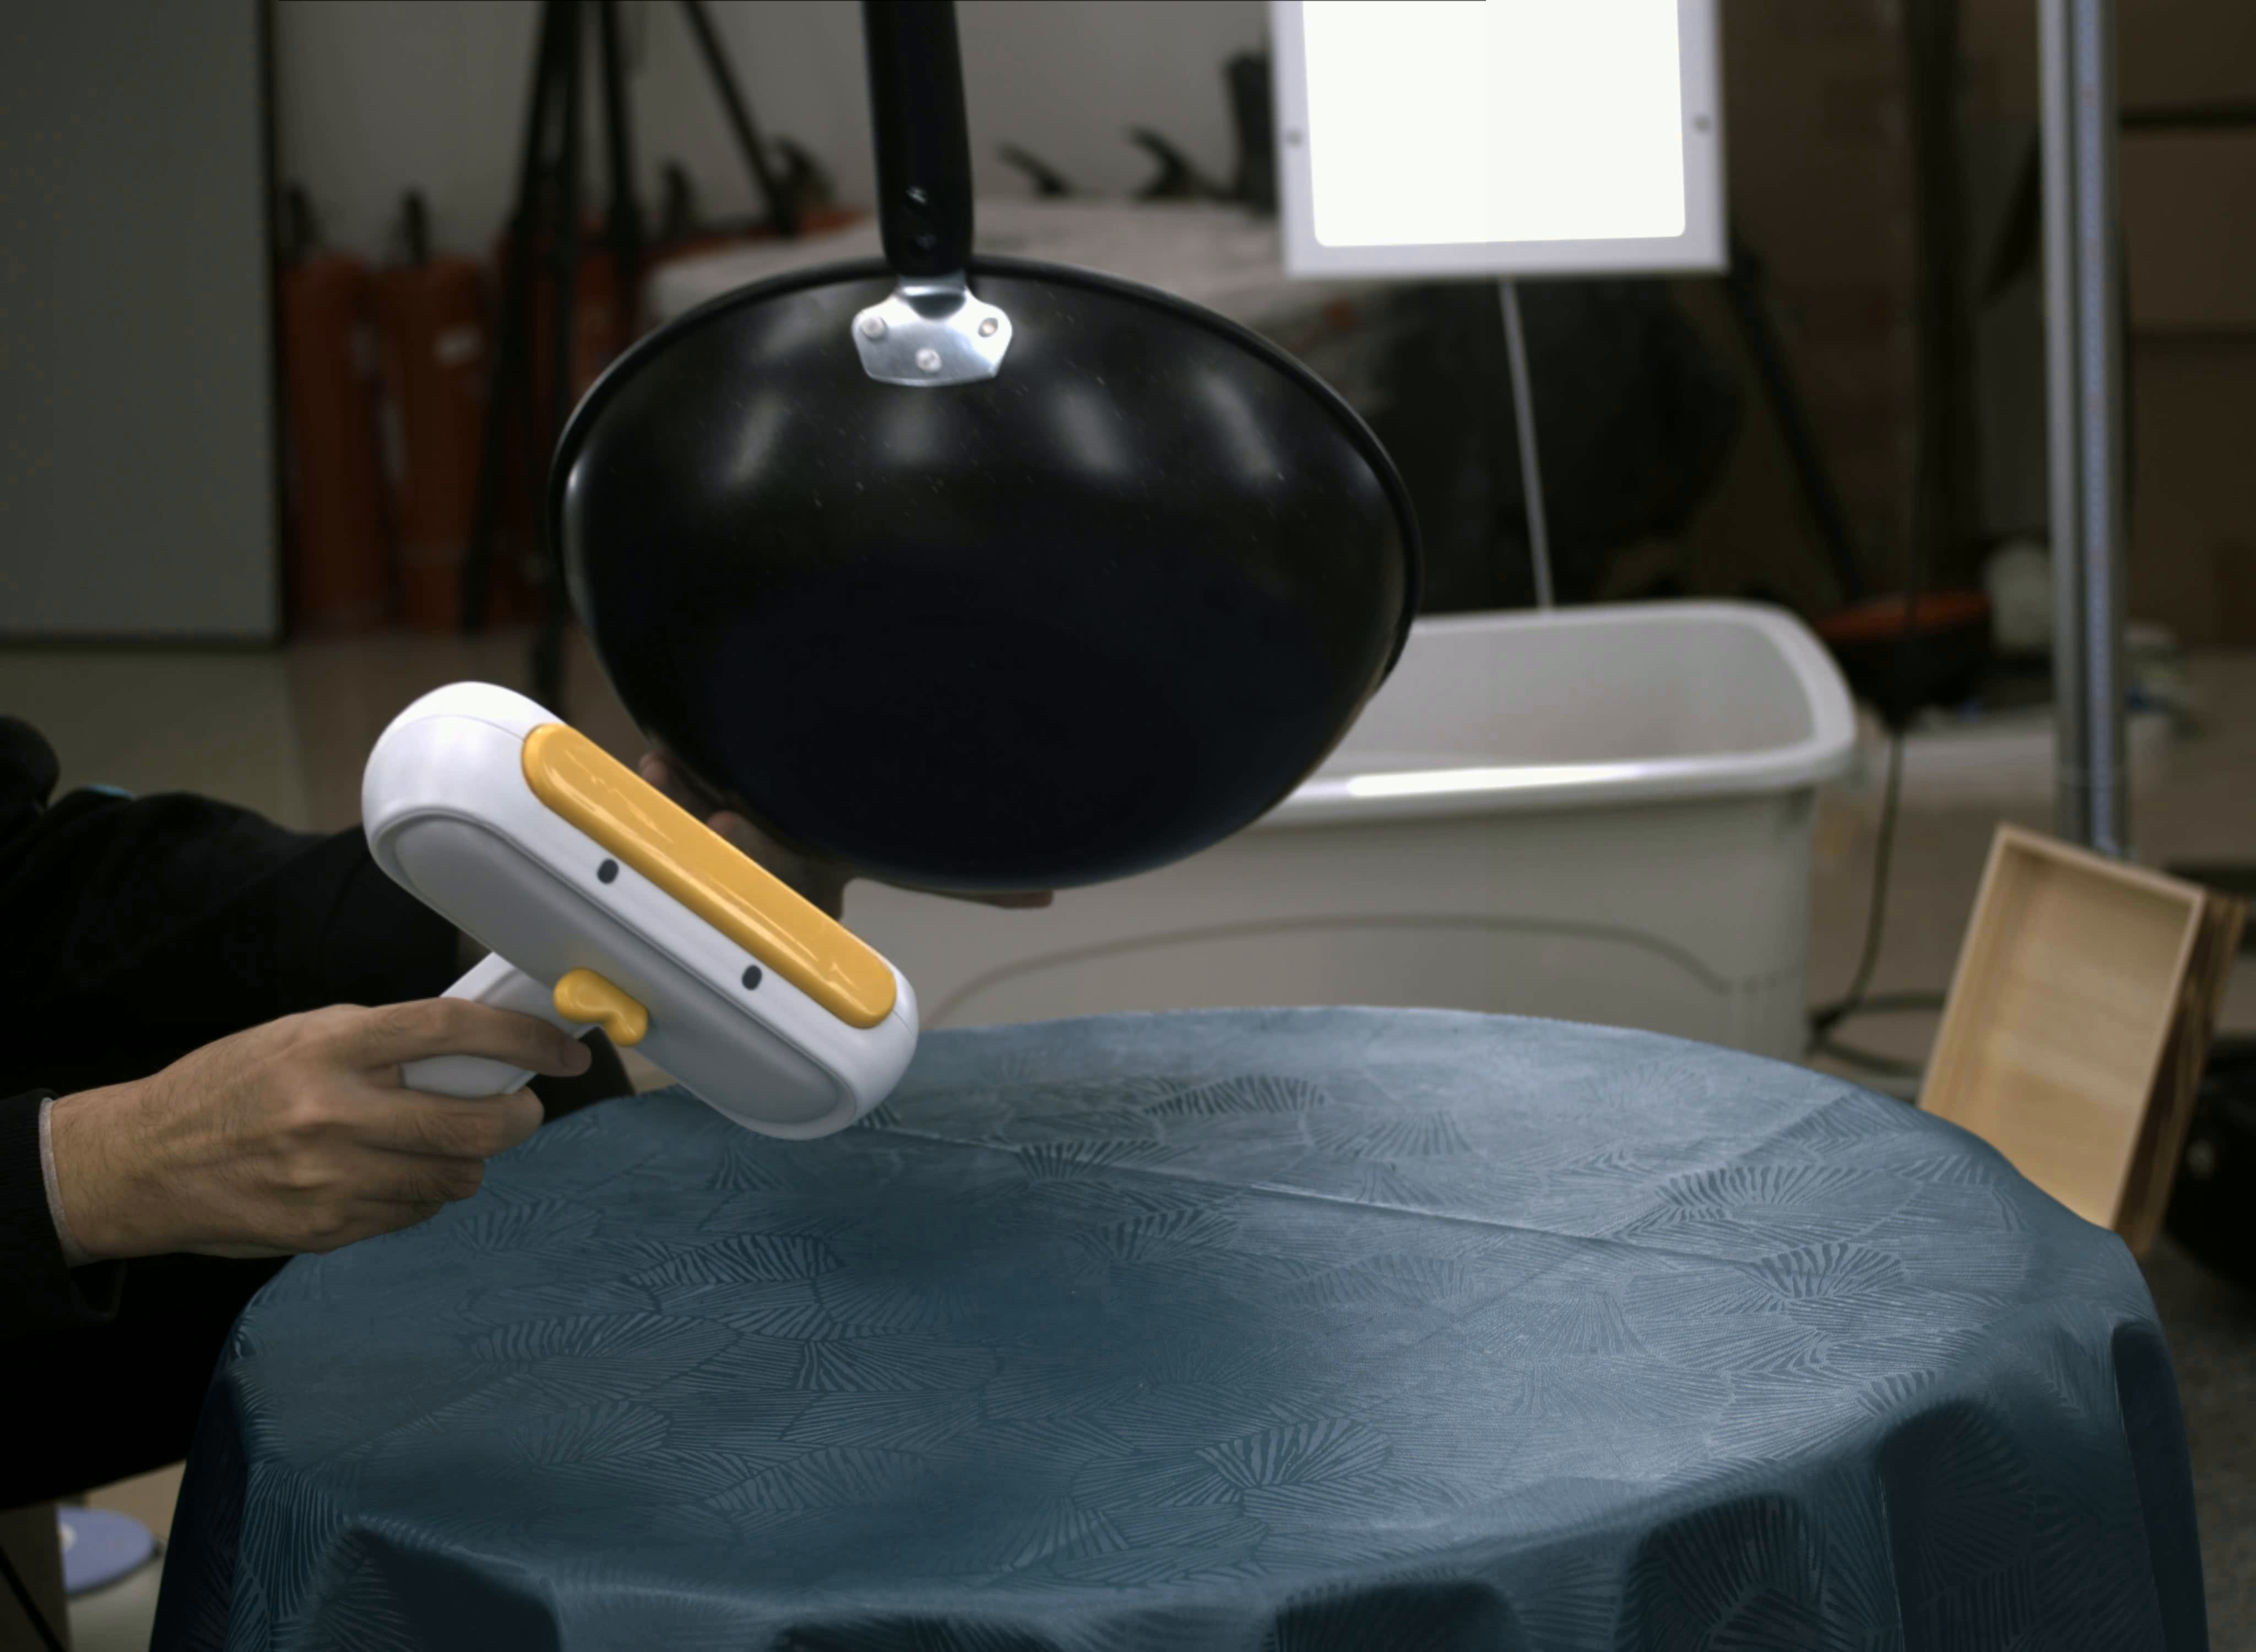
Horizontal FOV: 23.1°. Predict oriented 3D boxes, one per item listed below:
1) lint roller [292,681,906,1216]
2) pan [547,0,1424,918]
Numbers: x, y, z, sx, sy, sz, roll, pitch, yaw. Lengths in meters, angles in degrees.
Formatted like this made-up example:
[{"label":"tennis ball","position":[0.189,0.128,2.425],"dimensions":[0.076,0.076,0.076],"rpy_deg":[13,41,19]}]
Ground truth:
[{"label":"lint roller","position":[-0.189,0.055,1.682],"dimensions":[0.196,0.190,0.074],"rpy_deg":[-35,35,41]},{"label":"pan","position":[-0.058,-0.117,1.854],"dimensions":[0.311,0.477,0.111],"rpy_deg":[0,53,6]}]
